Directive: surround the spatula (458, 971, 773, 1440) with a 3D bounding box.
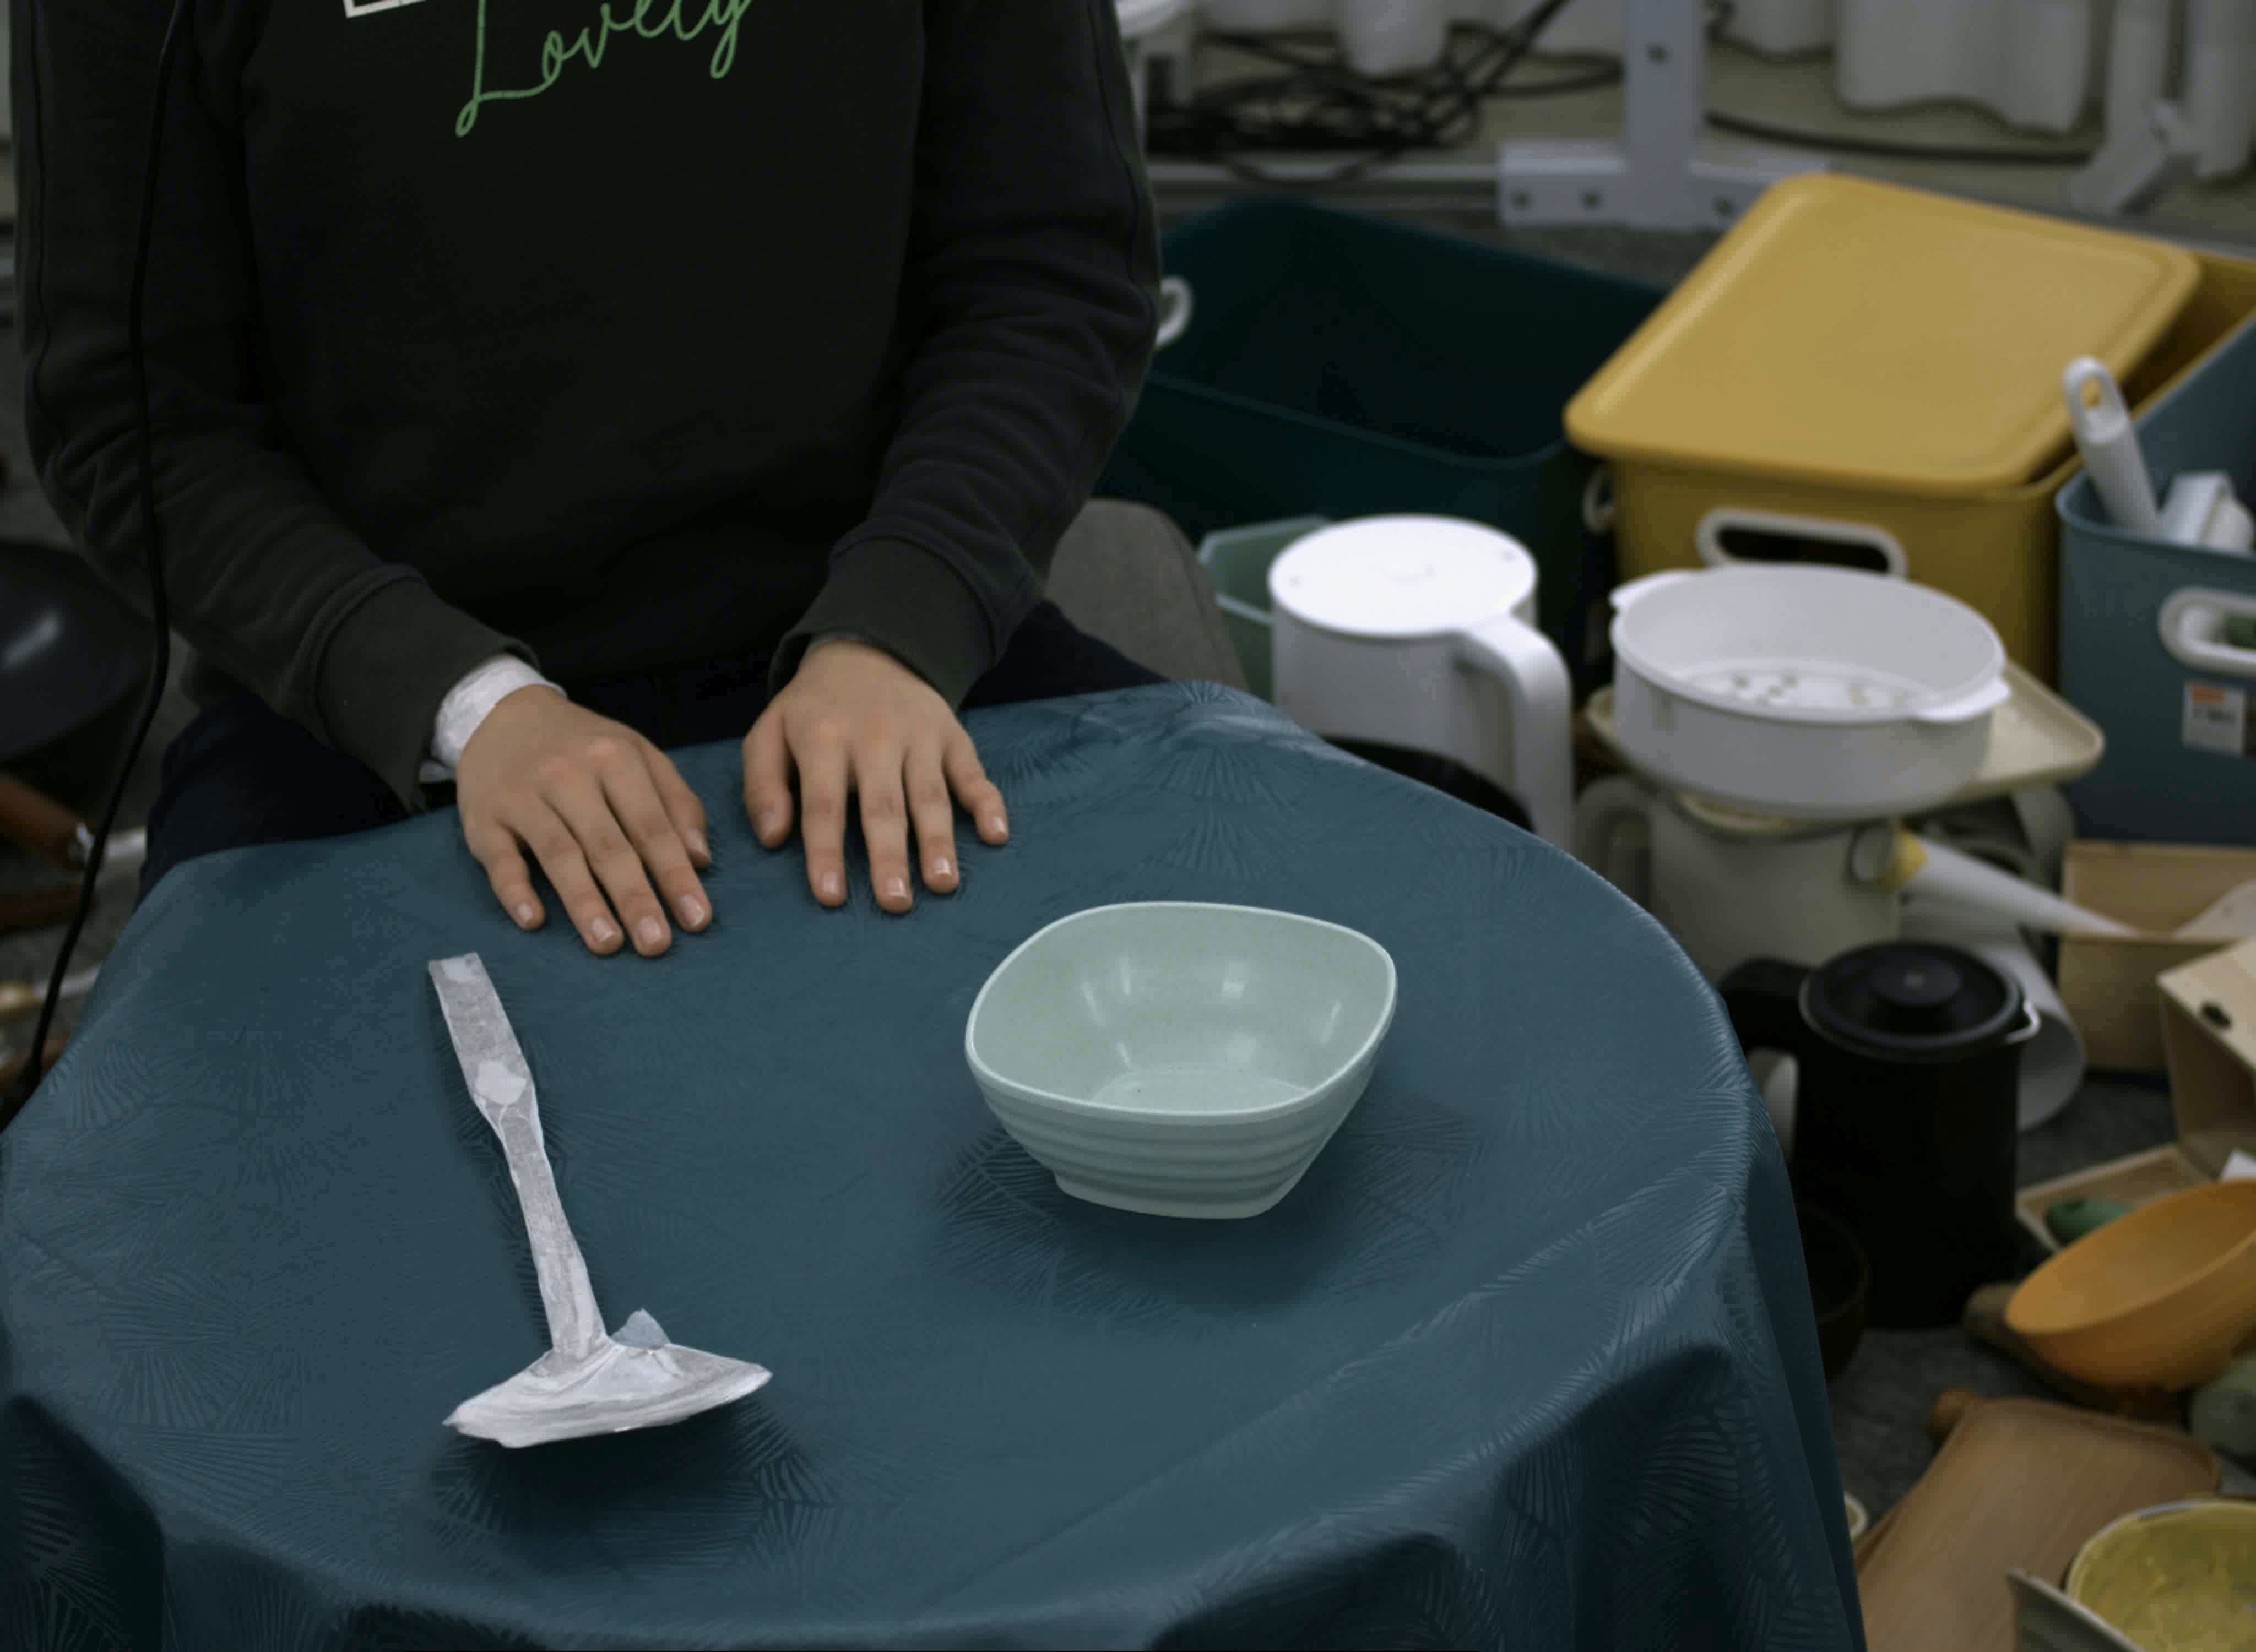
[{"bbox_3d":[-0.191,0.117,1.848,0.098,0.044,0.369,-10,28,-10],"label":"spatula"}]

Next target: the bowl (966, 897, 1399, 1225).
[{"bbox_3d":[0.019,0.084,1.872,0.151,0.058,0.154,0,29,1],"label":"bowl"}]
